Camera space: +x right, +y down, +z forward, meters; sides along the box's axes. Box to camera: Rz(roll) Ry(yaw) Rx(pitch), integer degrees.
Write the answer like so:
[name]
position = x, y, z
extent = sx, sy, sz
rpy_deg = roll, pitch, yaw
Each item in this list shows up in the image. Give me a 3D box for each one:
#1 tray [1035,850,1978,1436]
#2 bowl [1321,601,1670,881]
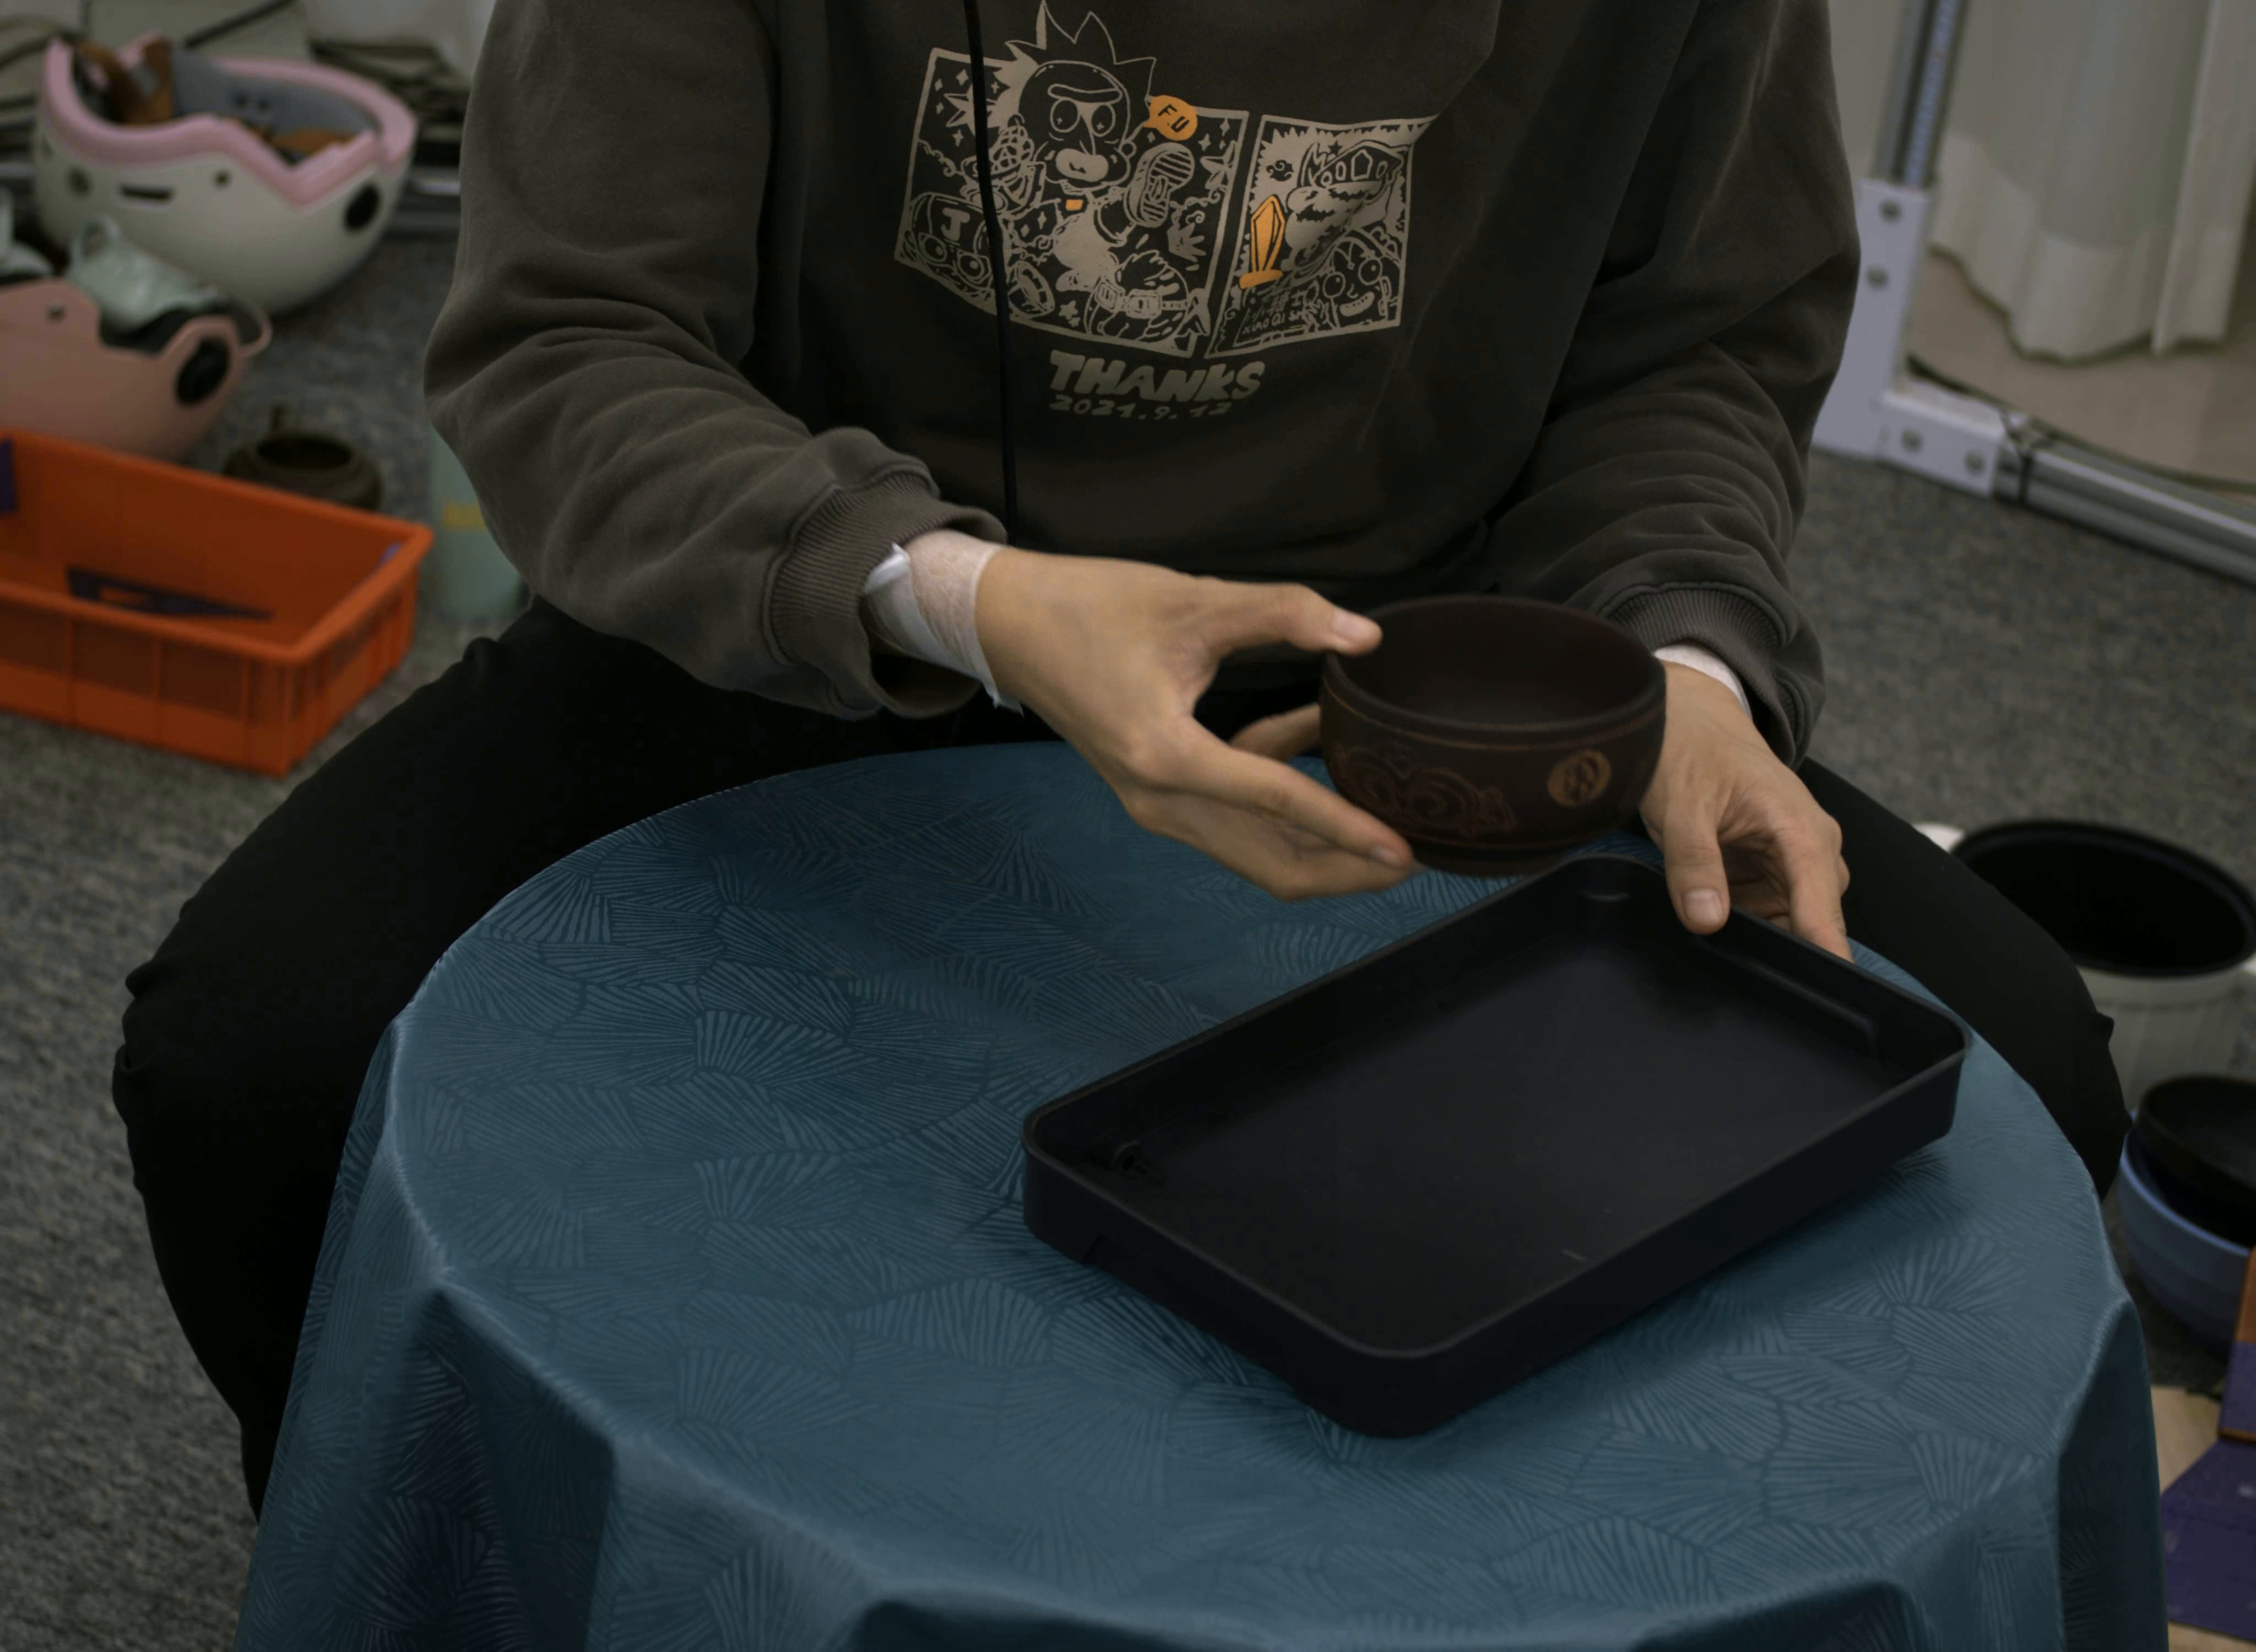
[tray]
position = 0.133, 0.102, 1.823
extent = 0.185, 0.037, 0.316
rpy_deg = 26, 36, 36
[bowl]
position = 0.123, -0.024, 1.797
extent = 0.117, 0.069, 0.118
rpy_deg = 1, 22, -1
